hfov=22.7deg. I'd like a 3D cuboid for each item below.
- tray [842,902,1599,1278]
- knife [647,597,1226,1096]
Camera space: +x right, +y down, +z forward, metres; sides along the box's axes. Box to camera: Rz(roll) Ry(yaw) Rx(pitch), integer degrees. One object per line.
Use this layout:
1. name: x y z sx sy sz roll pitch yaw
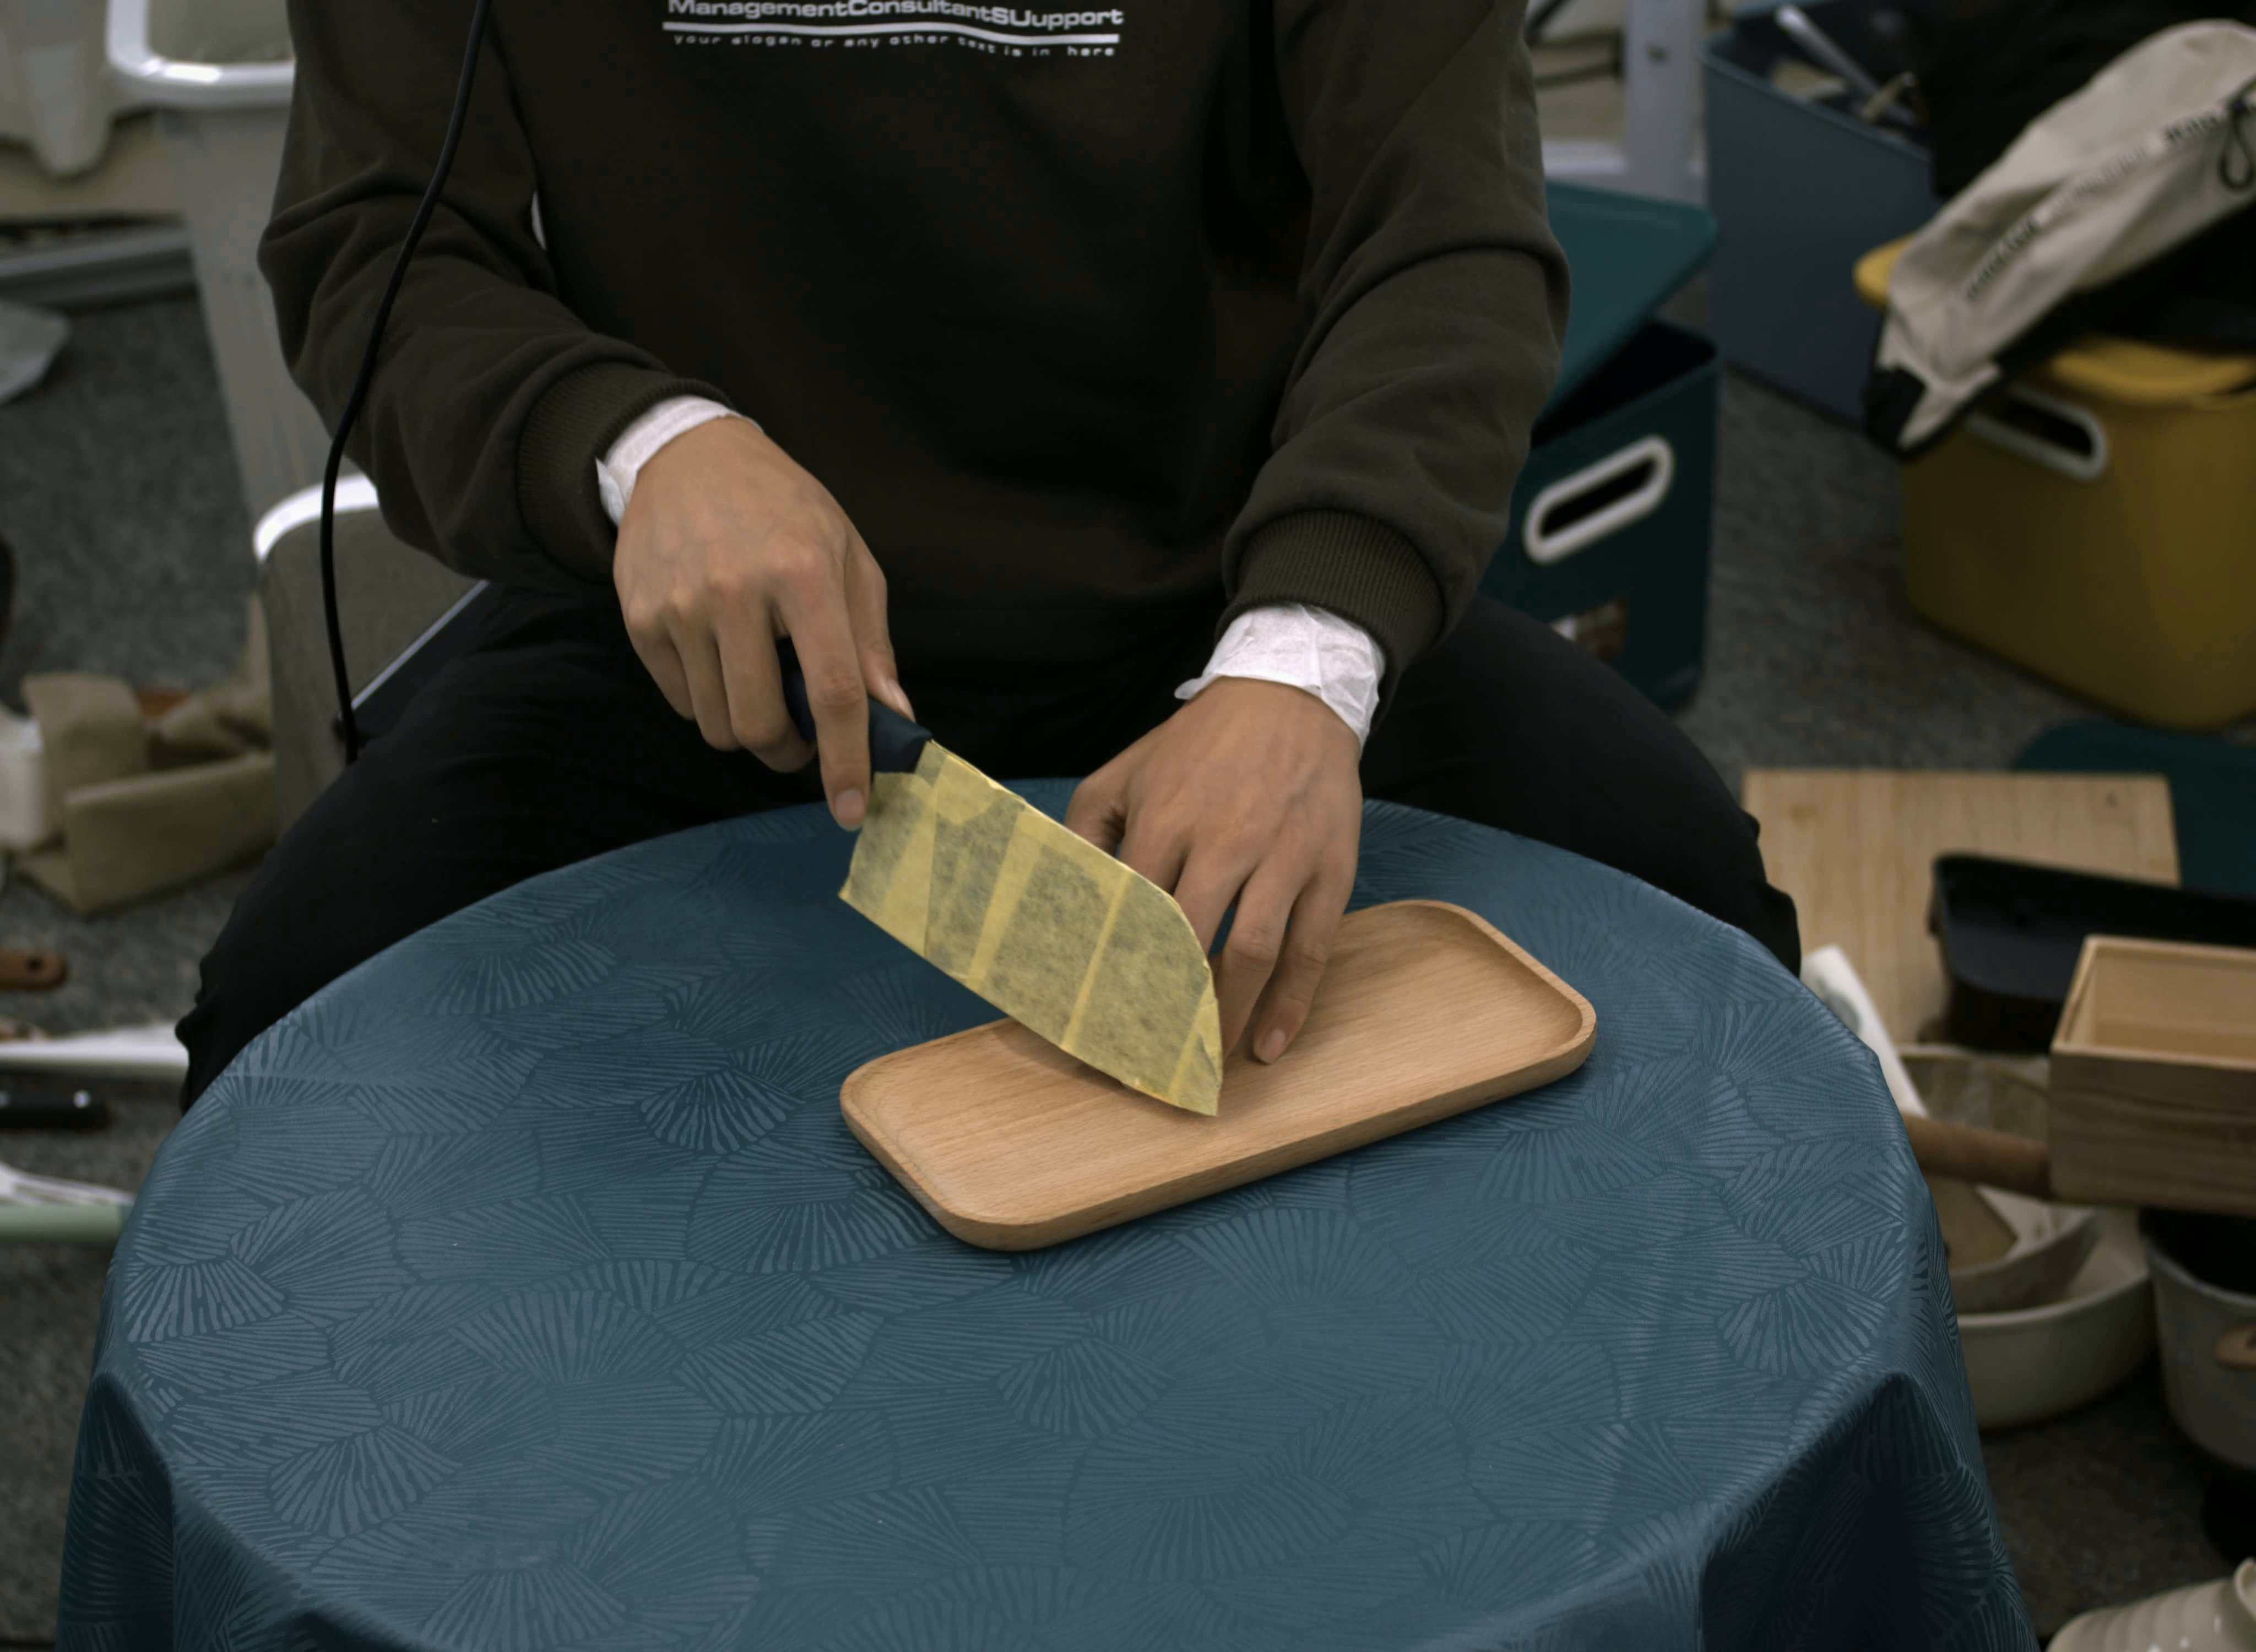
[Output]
1. tray: 0.032 0.089 1.913 0.252 0.022 0.131 -19 28 -23
2. knife: -0.069 0.005 1.943 0.290 0.080 0.027 36 23 30
